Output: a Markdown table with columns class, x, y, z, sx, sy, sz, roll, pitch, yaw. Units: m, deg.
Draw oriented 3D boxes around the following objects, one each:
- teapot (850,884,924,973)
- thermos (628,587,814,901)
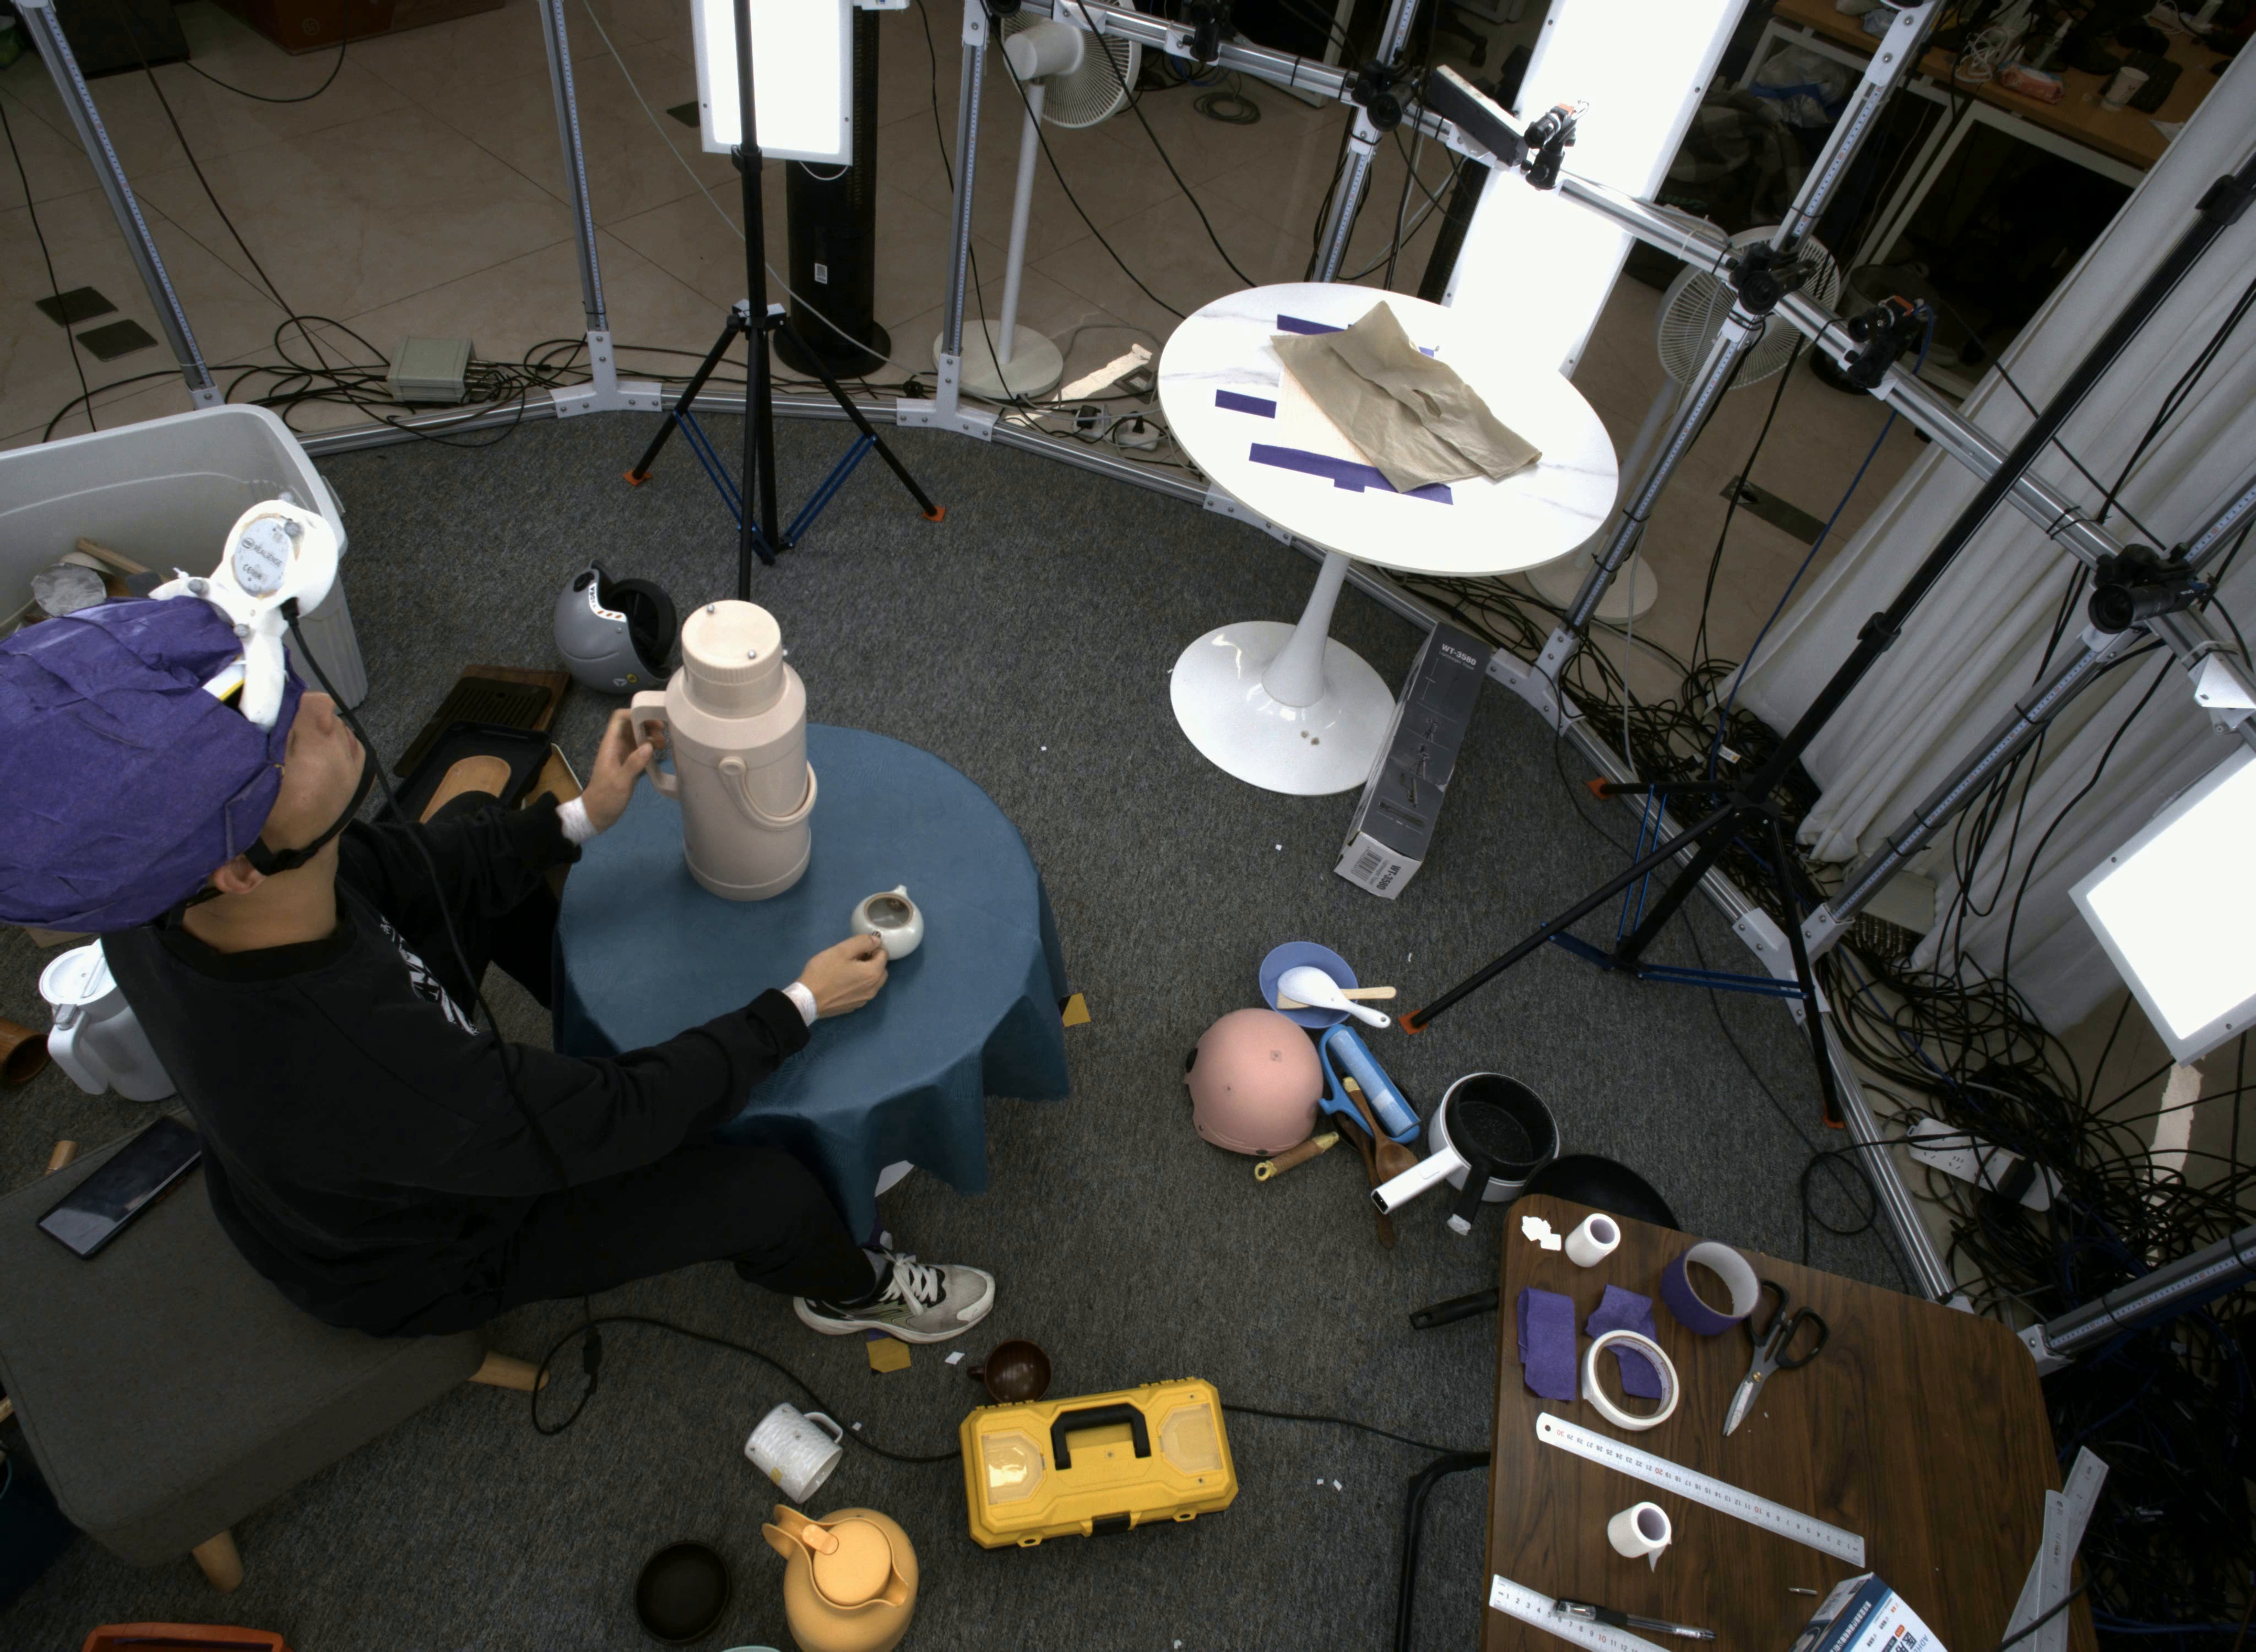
| class | x | y | z | sx | sy | sz | roll | pitch | yaw |
| --- | --- | --- | --- | --- | --- | --- | --- | --- | --- |
| teapot | -0.302 | 0.129 | 1.611 | 0.091 | 0.061 | 0.126 | 19 | 40 | -2 |
| thermos | -0.476 | -0.093 | 1.521 | 0.207 | 0.414 | 0.171 | -1 | 54 | -13 |
